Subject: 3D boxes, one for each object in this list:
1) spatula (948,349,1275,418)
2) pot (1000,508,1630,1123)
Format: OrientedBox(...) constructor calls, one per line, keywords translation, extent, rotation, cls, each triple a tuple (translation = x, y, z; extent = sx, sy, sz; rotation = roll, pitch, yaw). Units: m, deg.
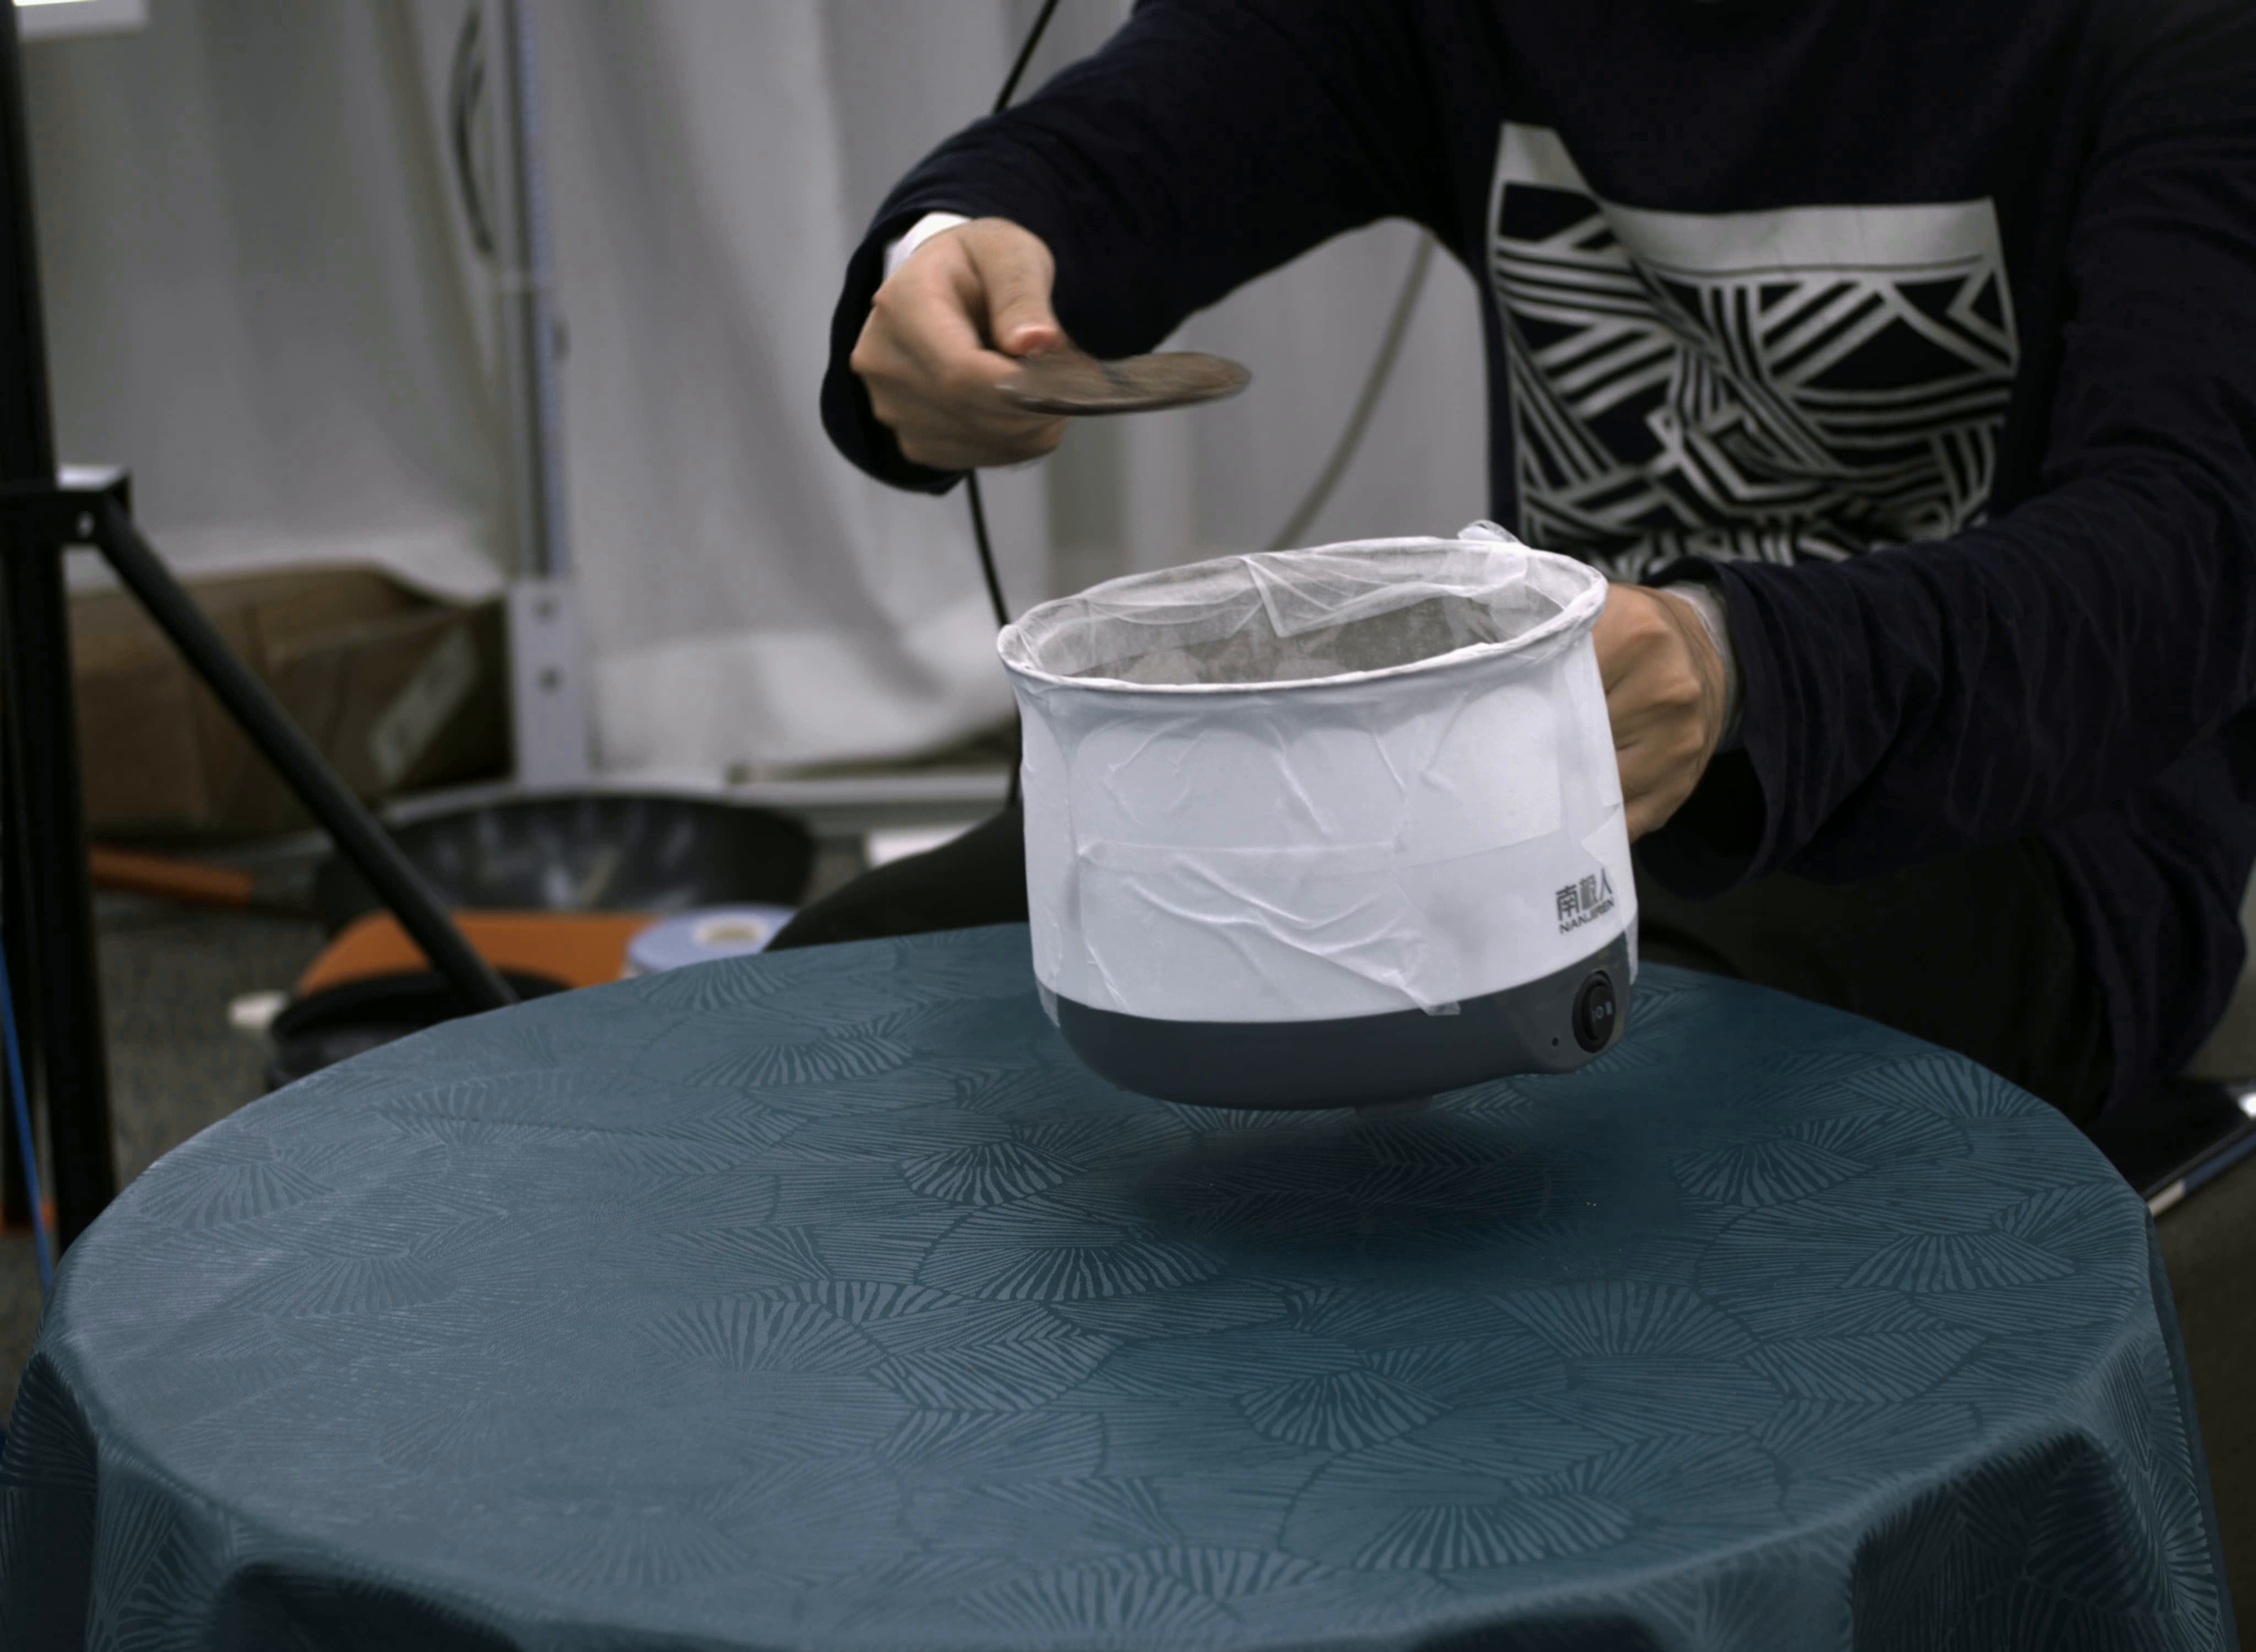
OrientedBox(translation=(-0.015, -0.136, 1.615), extent=(0.071, 0.009, 0.219), rotation=(-8, 10, -16), cls="spatula")
OrientedBox(translation=(0.071, -0.009, 1.560), extent=(0.182, 0.136, 0.229), rotation=(7, 20, 34), cls="pot")
